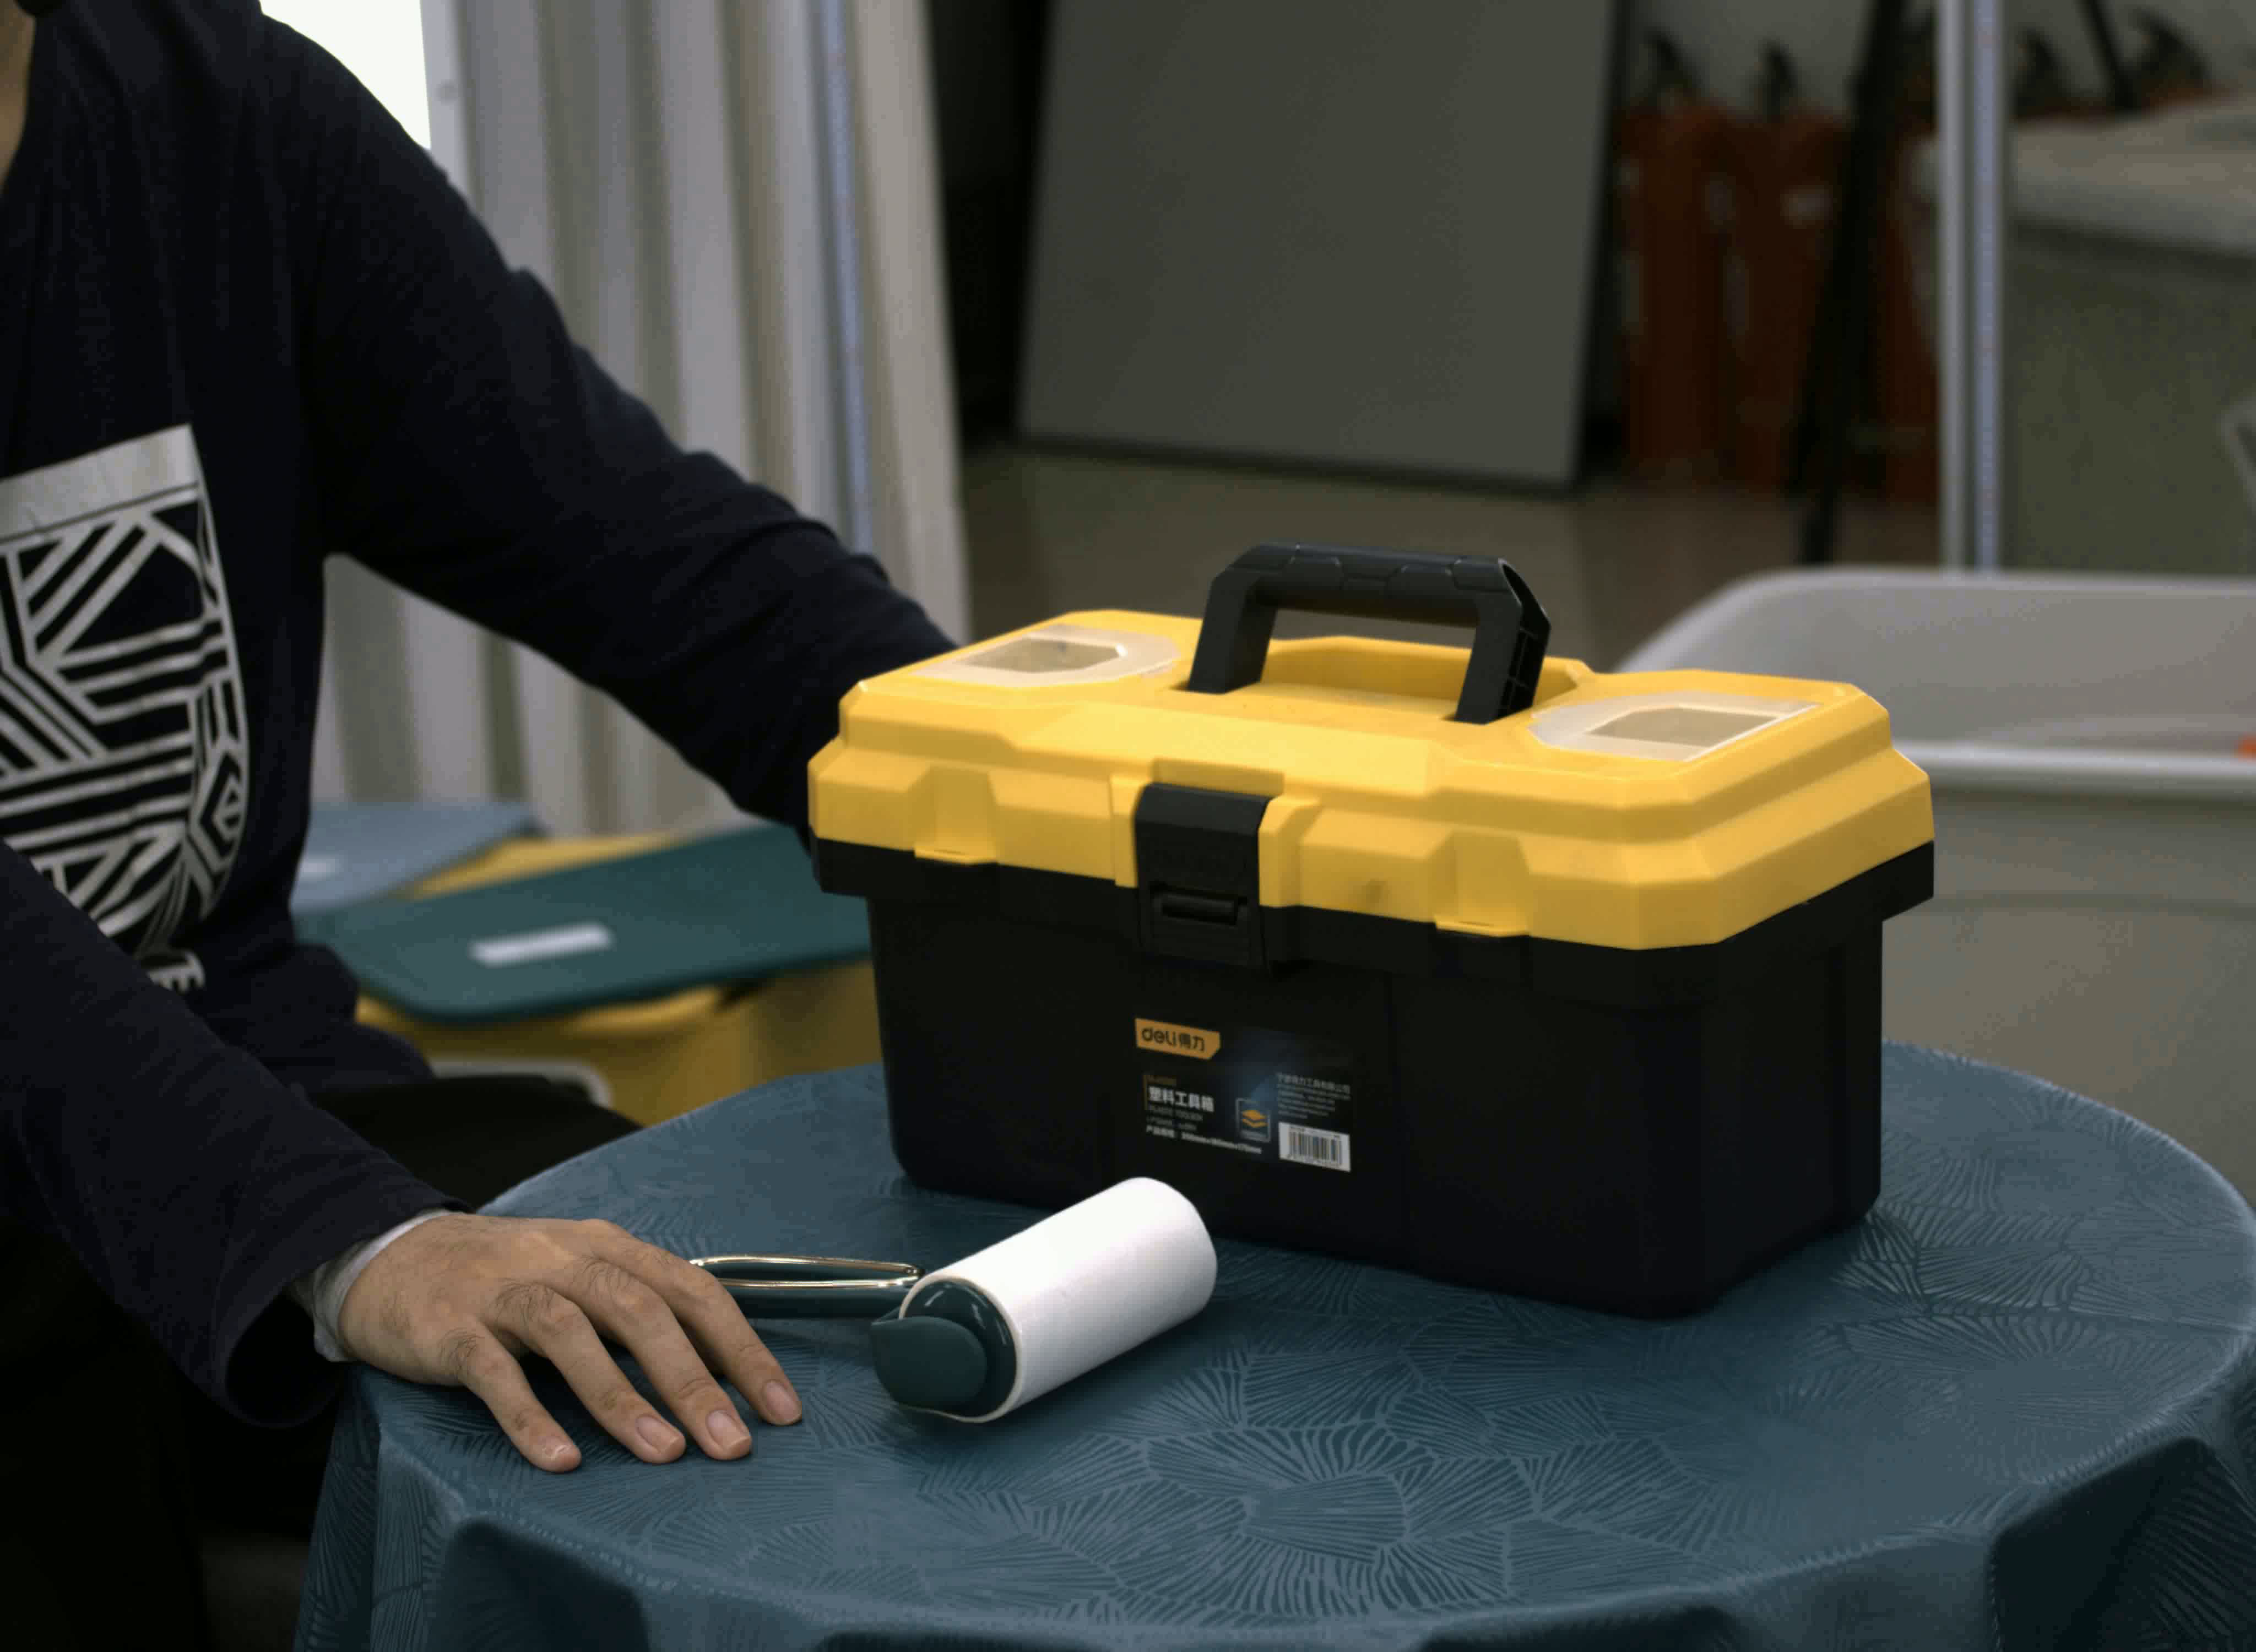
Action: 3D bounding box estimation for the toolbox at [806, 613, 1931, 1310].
[{"bbox_3d":[0.073,0.038,1.729,0.354,0.175,0.178,6,16,38],"label":"toolbox"}]

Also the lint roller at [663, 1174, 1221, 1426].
[{"bbox_3d":[-0.074,0.139,1.642,0.181,0.049,0.132,1,15,38],"label":"lint roller"}]
